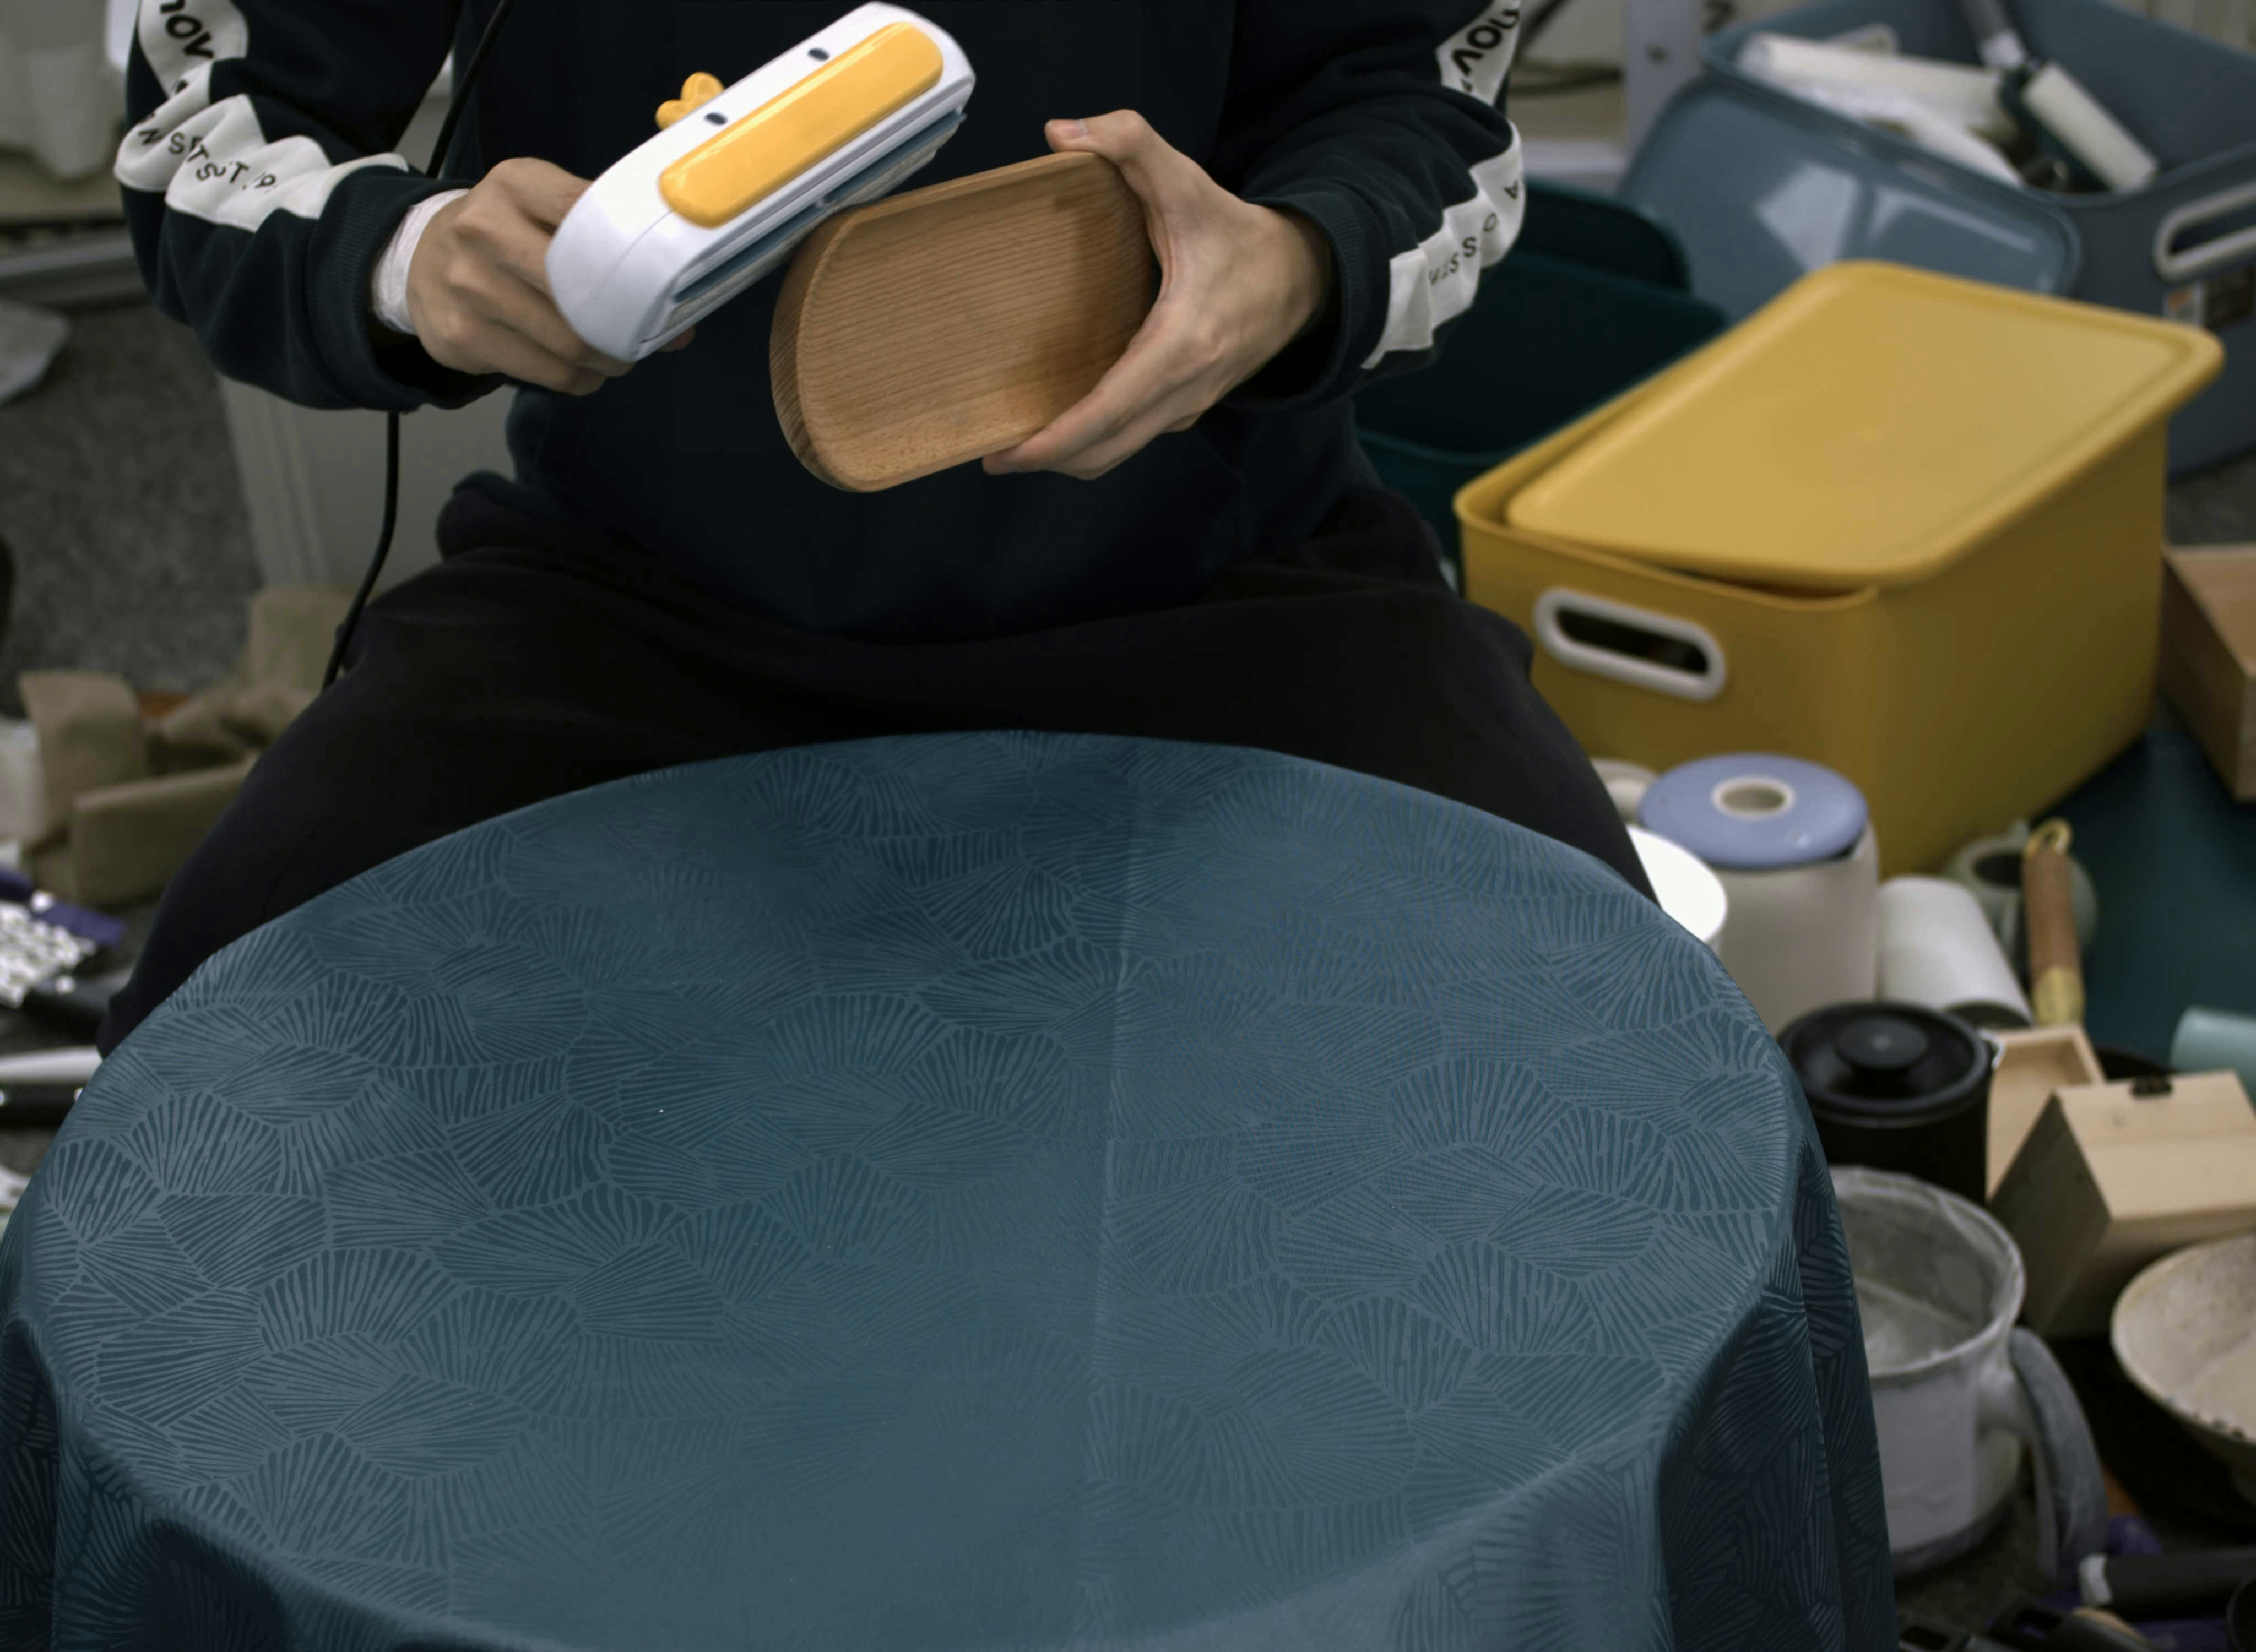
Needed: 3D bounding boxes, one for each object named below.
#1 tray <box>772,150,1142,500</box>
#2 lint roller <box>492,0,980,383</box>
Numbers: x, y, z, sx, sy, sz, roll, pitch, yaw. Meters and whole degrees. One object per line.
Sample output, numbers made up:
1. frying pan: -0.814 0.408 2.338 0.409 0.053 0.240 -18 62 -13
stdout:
1. tray: -0.058 -0.180 2.003 0.020 0.101 0.234 7 17 30
2. lint roller: -0.156 -0.204 1.974 0.074 0.189 0.196 45 42 -2
